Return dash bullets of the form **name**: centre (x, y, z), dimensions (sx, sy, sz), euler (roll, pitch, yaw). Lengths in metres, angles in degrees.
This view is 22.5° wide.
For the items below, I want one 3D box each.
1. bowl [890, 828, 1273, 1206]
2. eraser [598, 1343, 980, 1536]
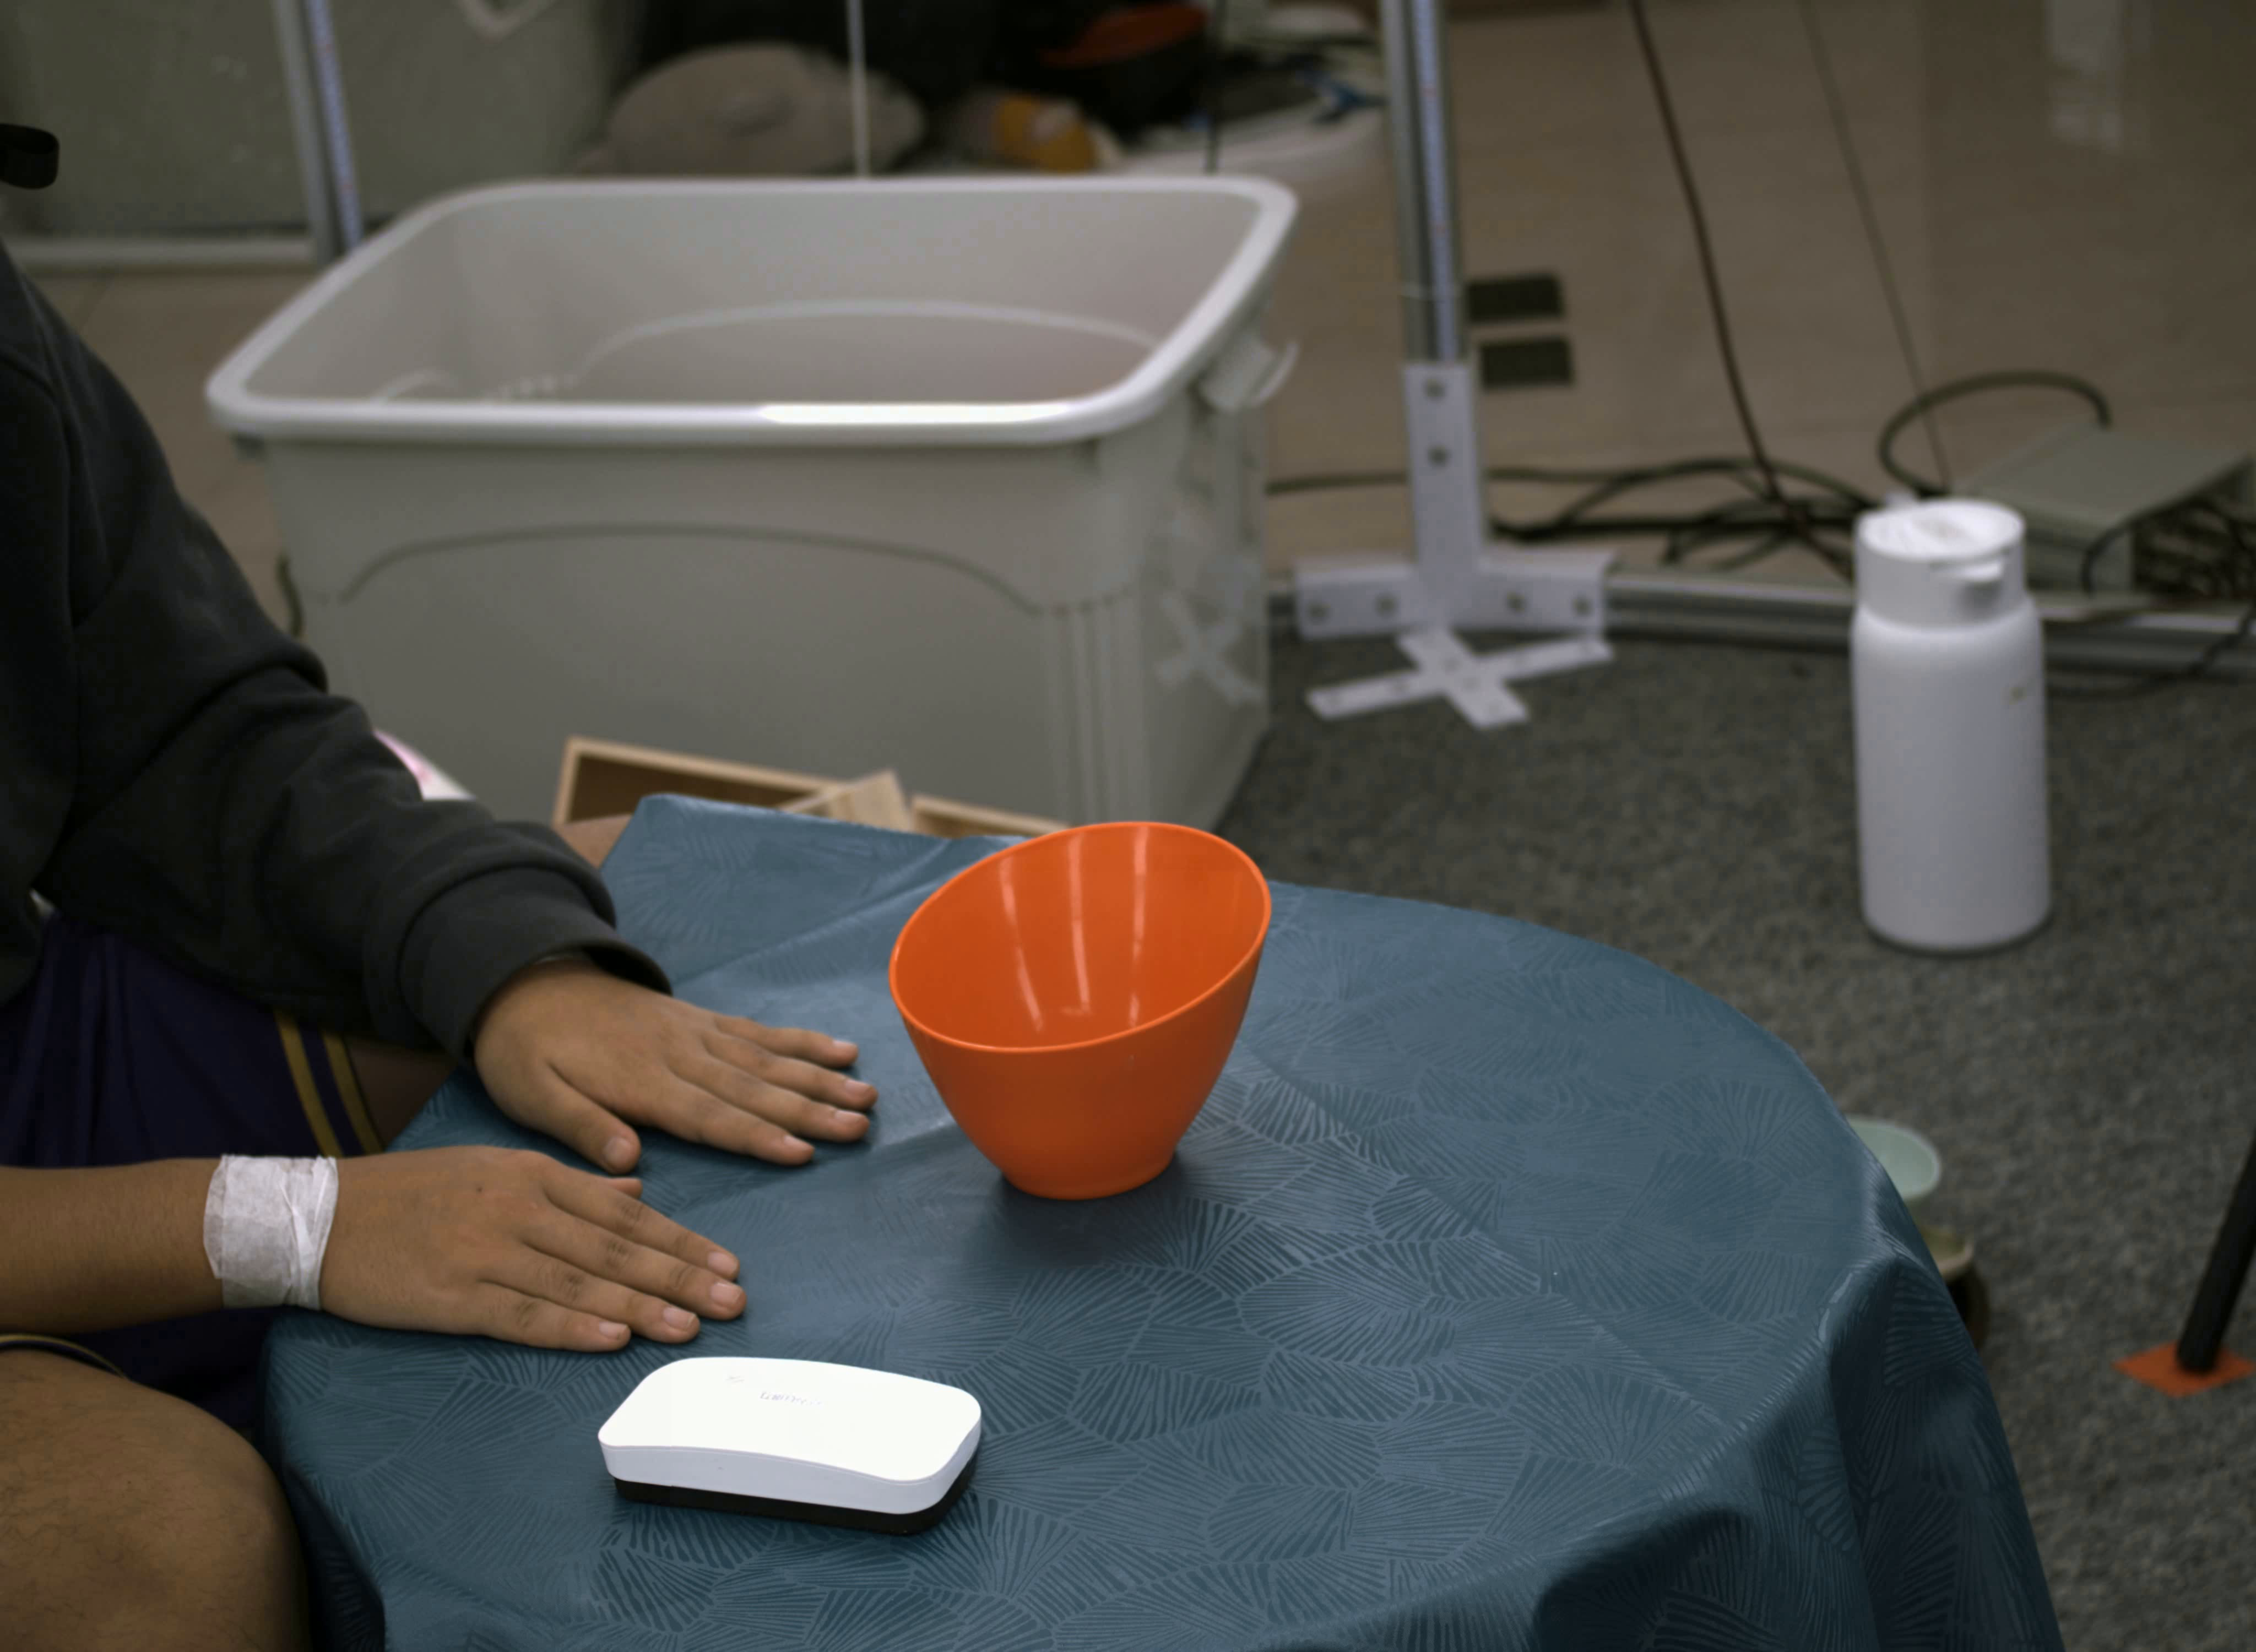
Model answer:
- **bowl**: centre (-0.013, 0.079, 2.159), dimensions (0.148, 0.106, 0.146), euler (-6, 26, 3)
- **eraser**: centre (-0.117, 0.212, 1.979), dimensions (0.131, 0.035, 0.062), euler (7, 27, 23)
